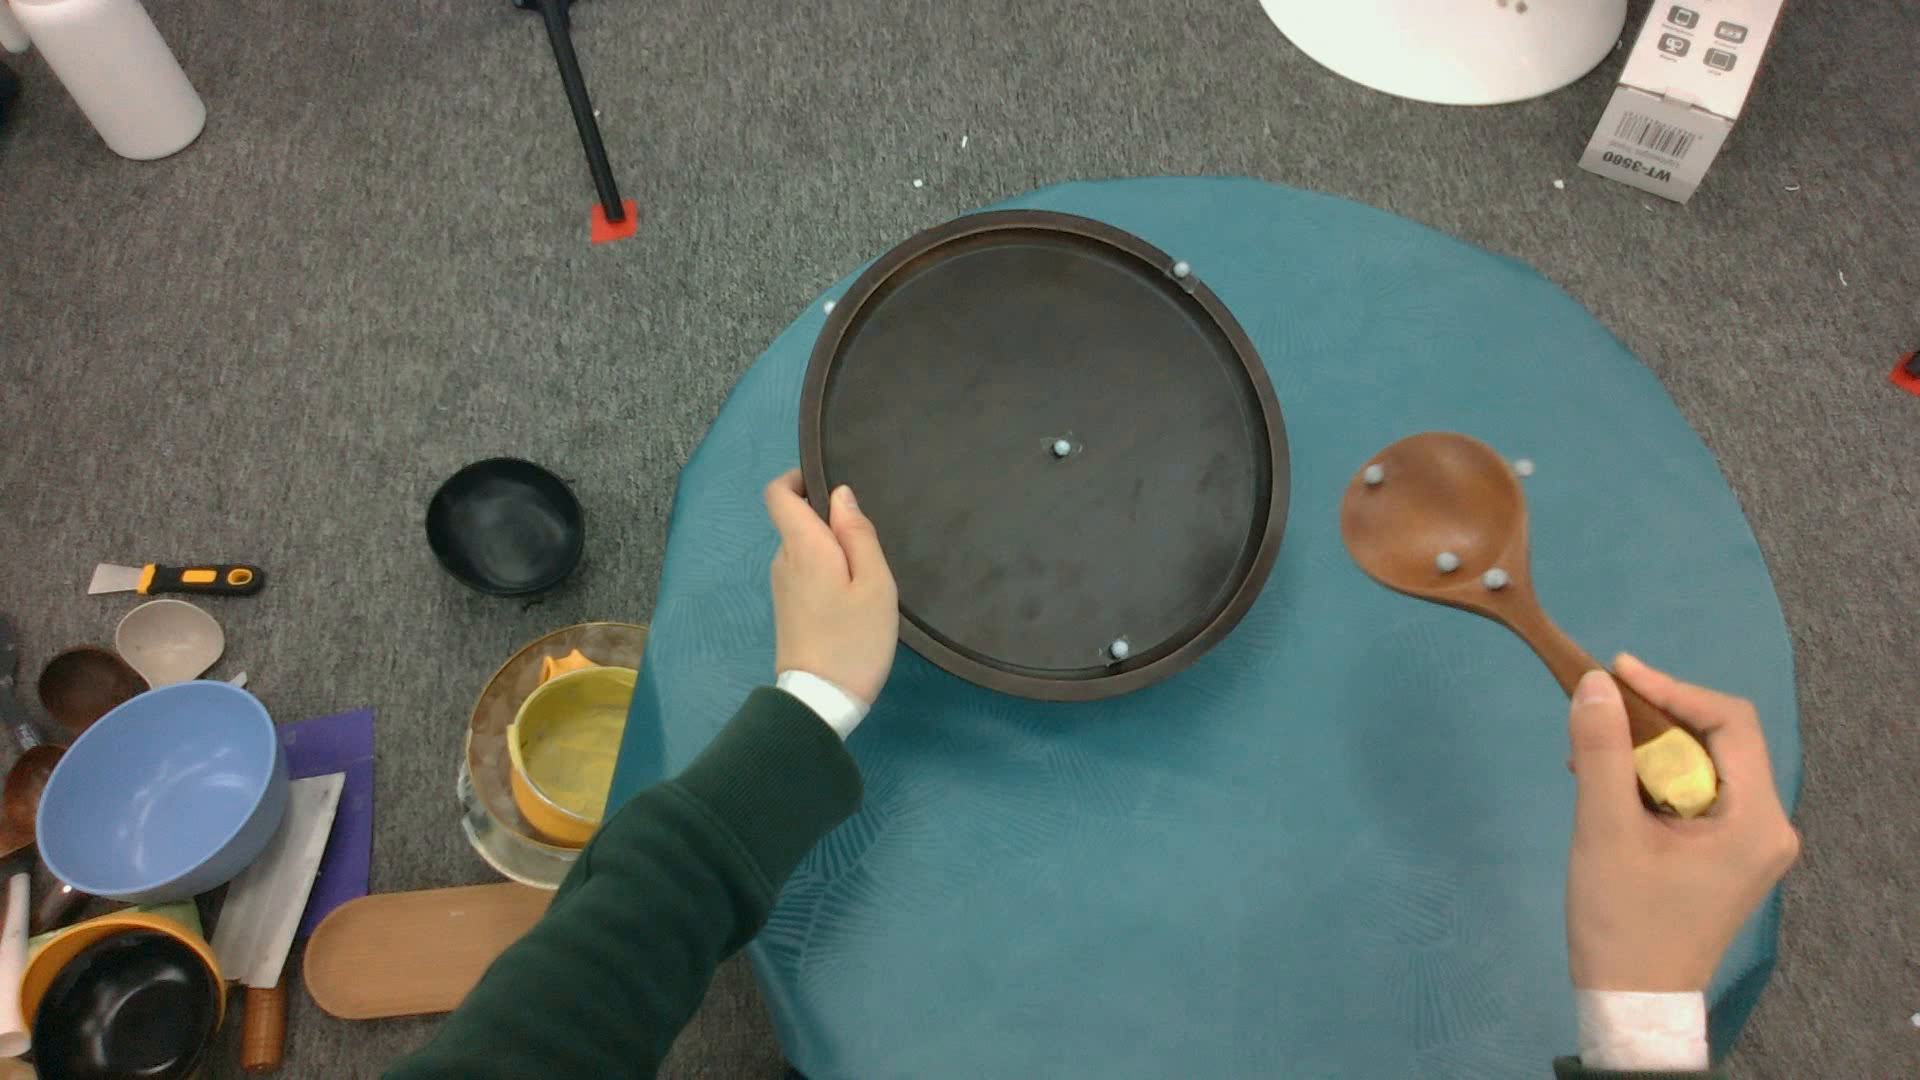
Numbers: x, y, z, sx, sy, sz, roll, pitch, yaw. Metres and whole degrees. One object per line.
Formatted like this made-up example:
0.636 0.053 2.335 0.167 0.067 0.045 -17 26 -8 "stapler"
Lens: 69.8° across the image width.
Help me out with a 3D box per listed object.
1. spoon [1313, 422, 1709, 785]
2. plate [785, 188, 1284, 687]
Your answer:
0.213 0.019 0.548 0.075 0.017 0.216 -37 38 6 "spoon"
0.040 -0.053 0.678 0.255 0.029 0.255 4 75 -14 "plate"
